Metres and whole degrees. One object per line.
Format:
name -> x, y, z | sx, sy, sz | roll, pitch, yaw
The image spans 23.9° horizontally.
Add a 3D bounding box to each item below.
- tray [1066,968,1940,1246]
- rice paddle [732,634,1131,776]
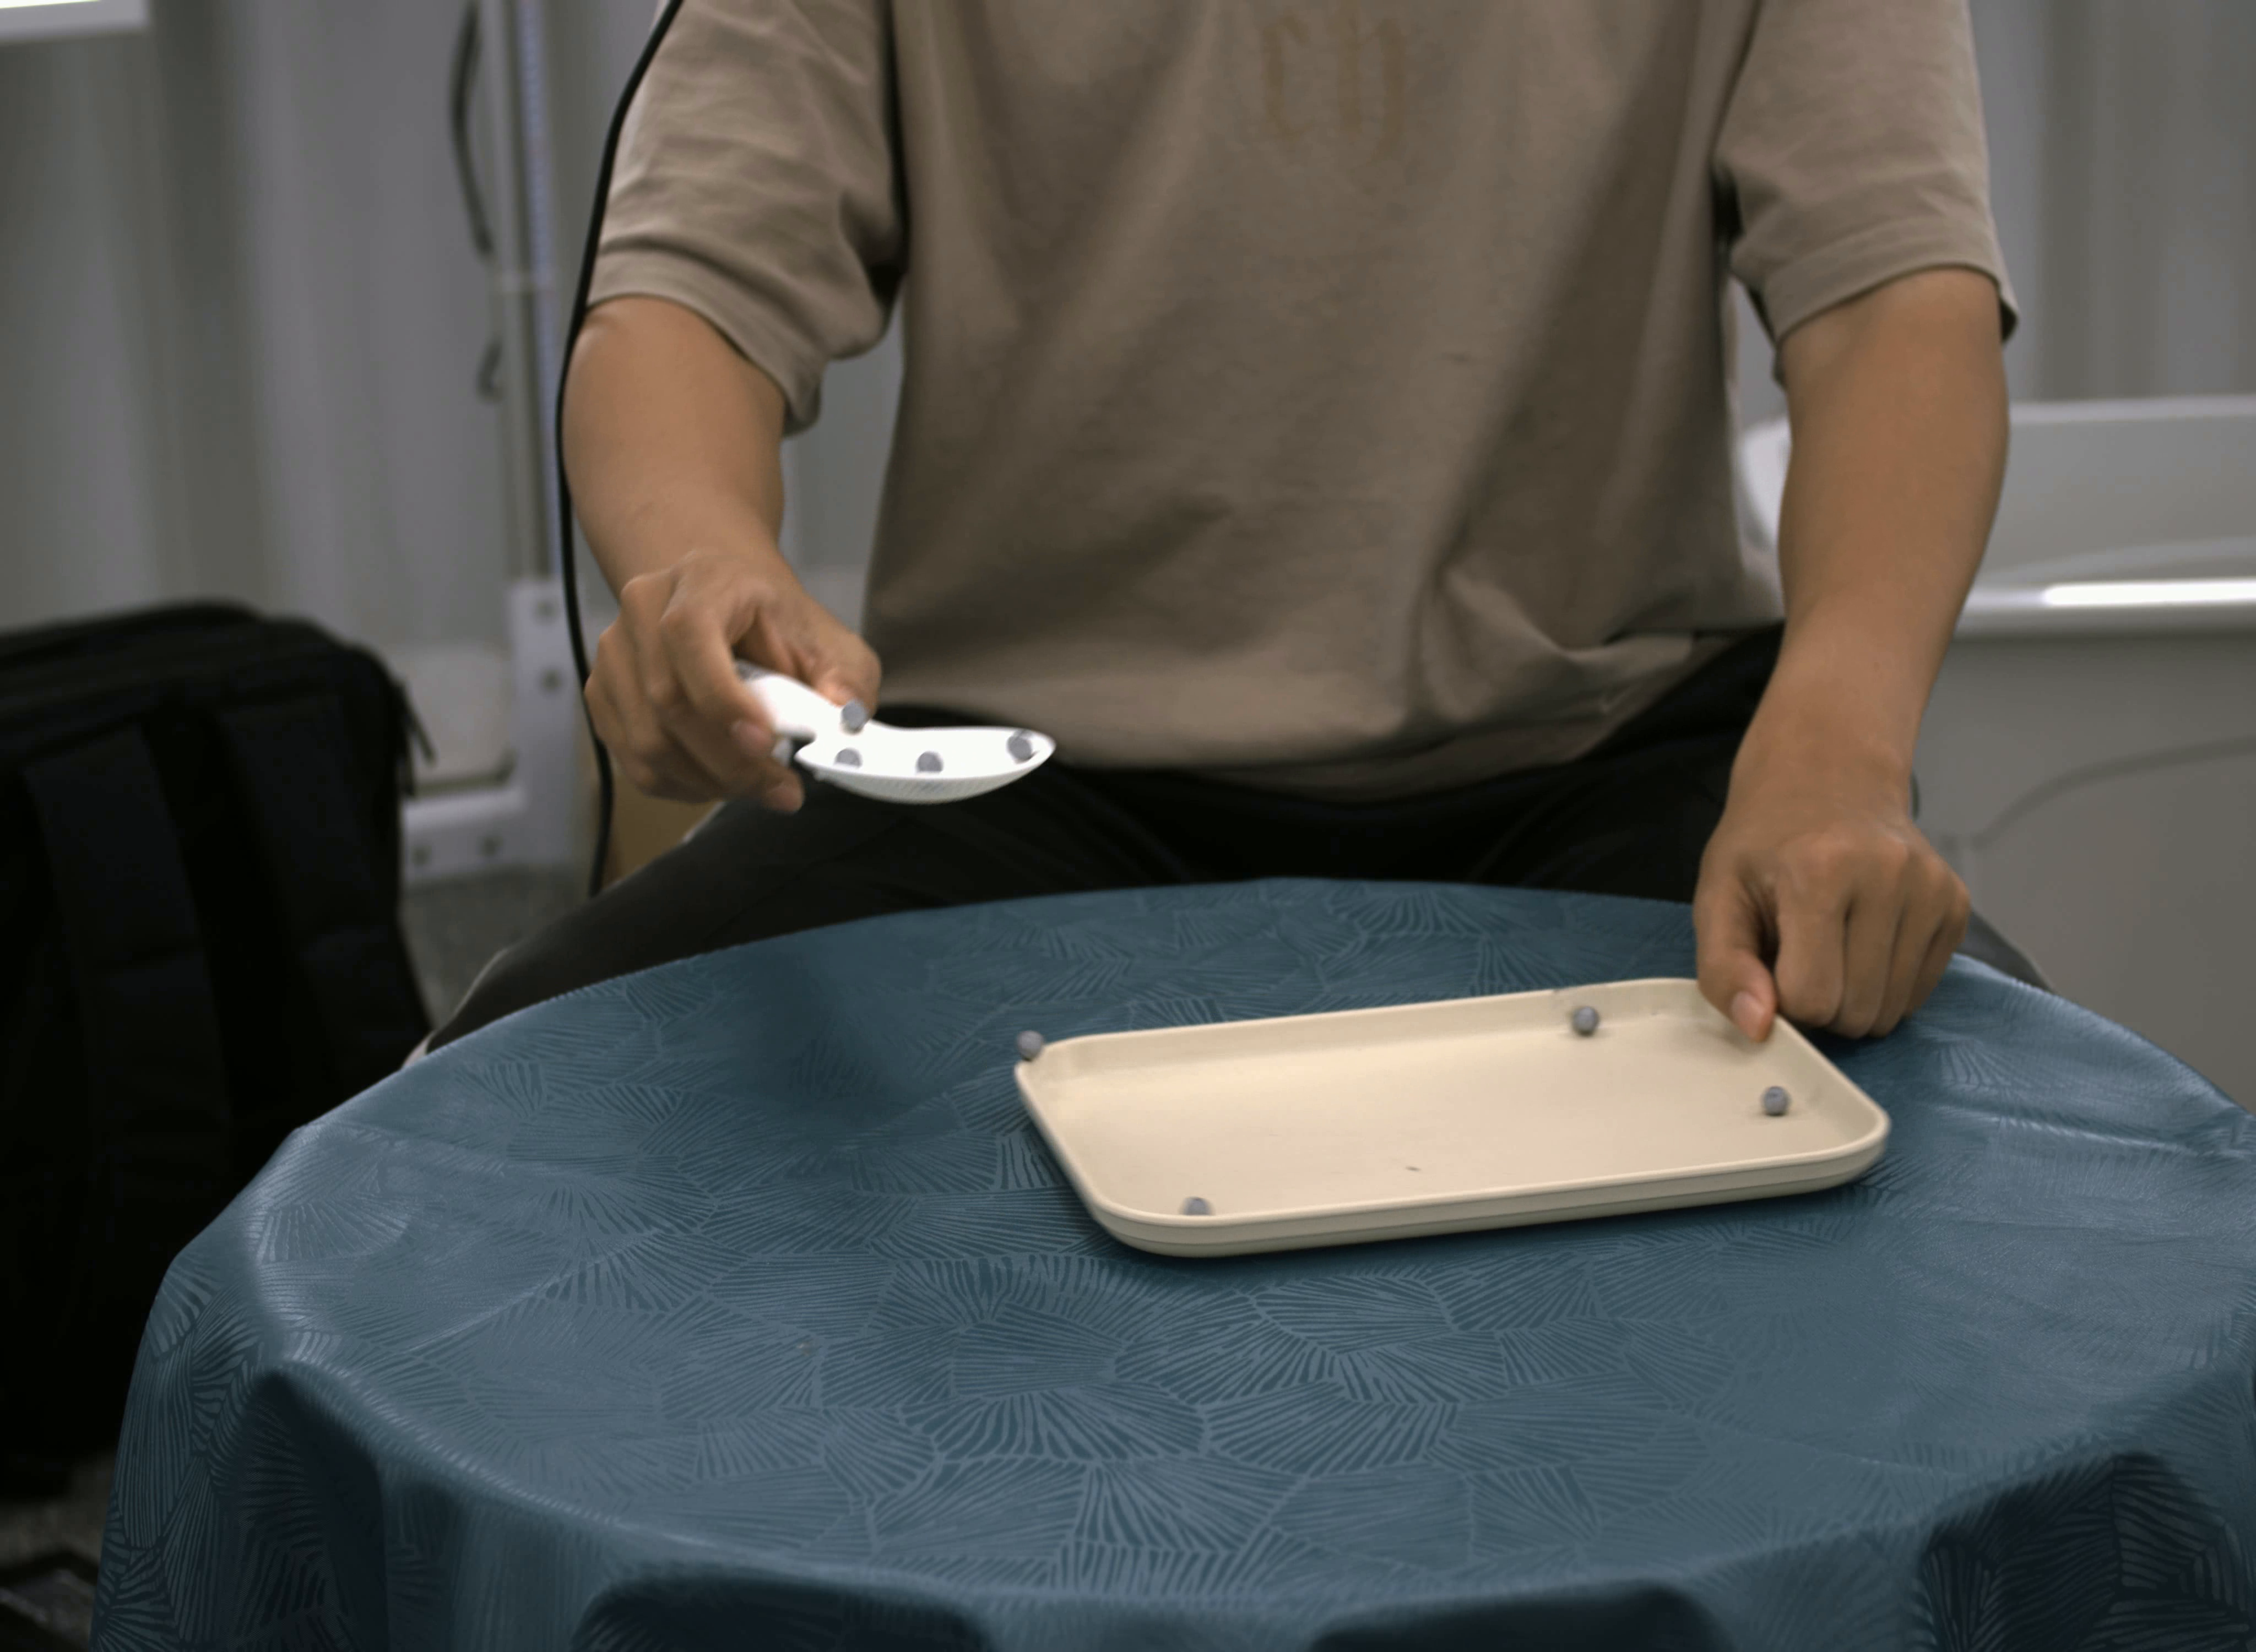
tray -> 0.109, 0.084, 1.580 | 0.237, 0.017, 0.173 | -5, 17, -9
rice paddle -> -0.063, -0.035, 1.581 | 0.067, 0.029, 0.209 | -10, 10, -26
